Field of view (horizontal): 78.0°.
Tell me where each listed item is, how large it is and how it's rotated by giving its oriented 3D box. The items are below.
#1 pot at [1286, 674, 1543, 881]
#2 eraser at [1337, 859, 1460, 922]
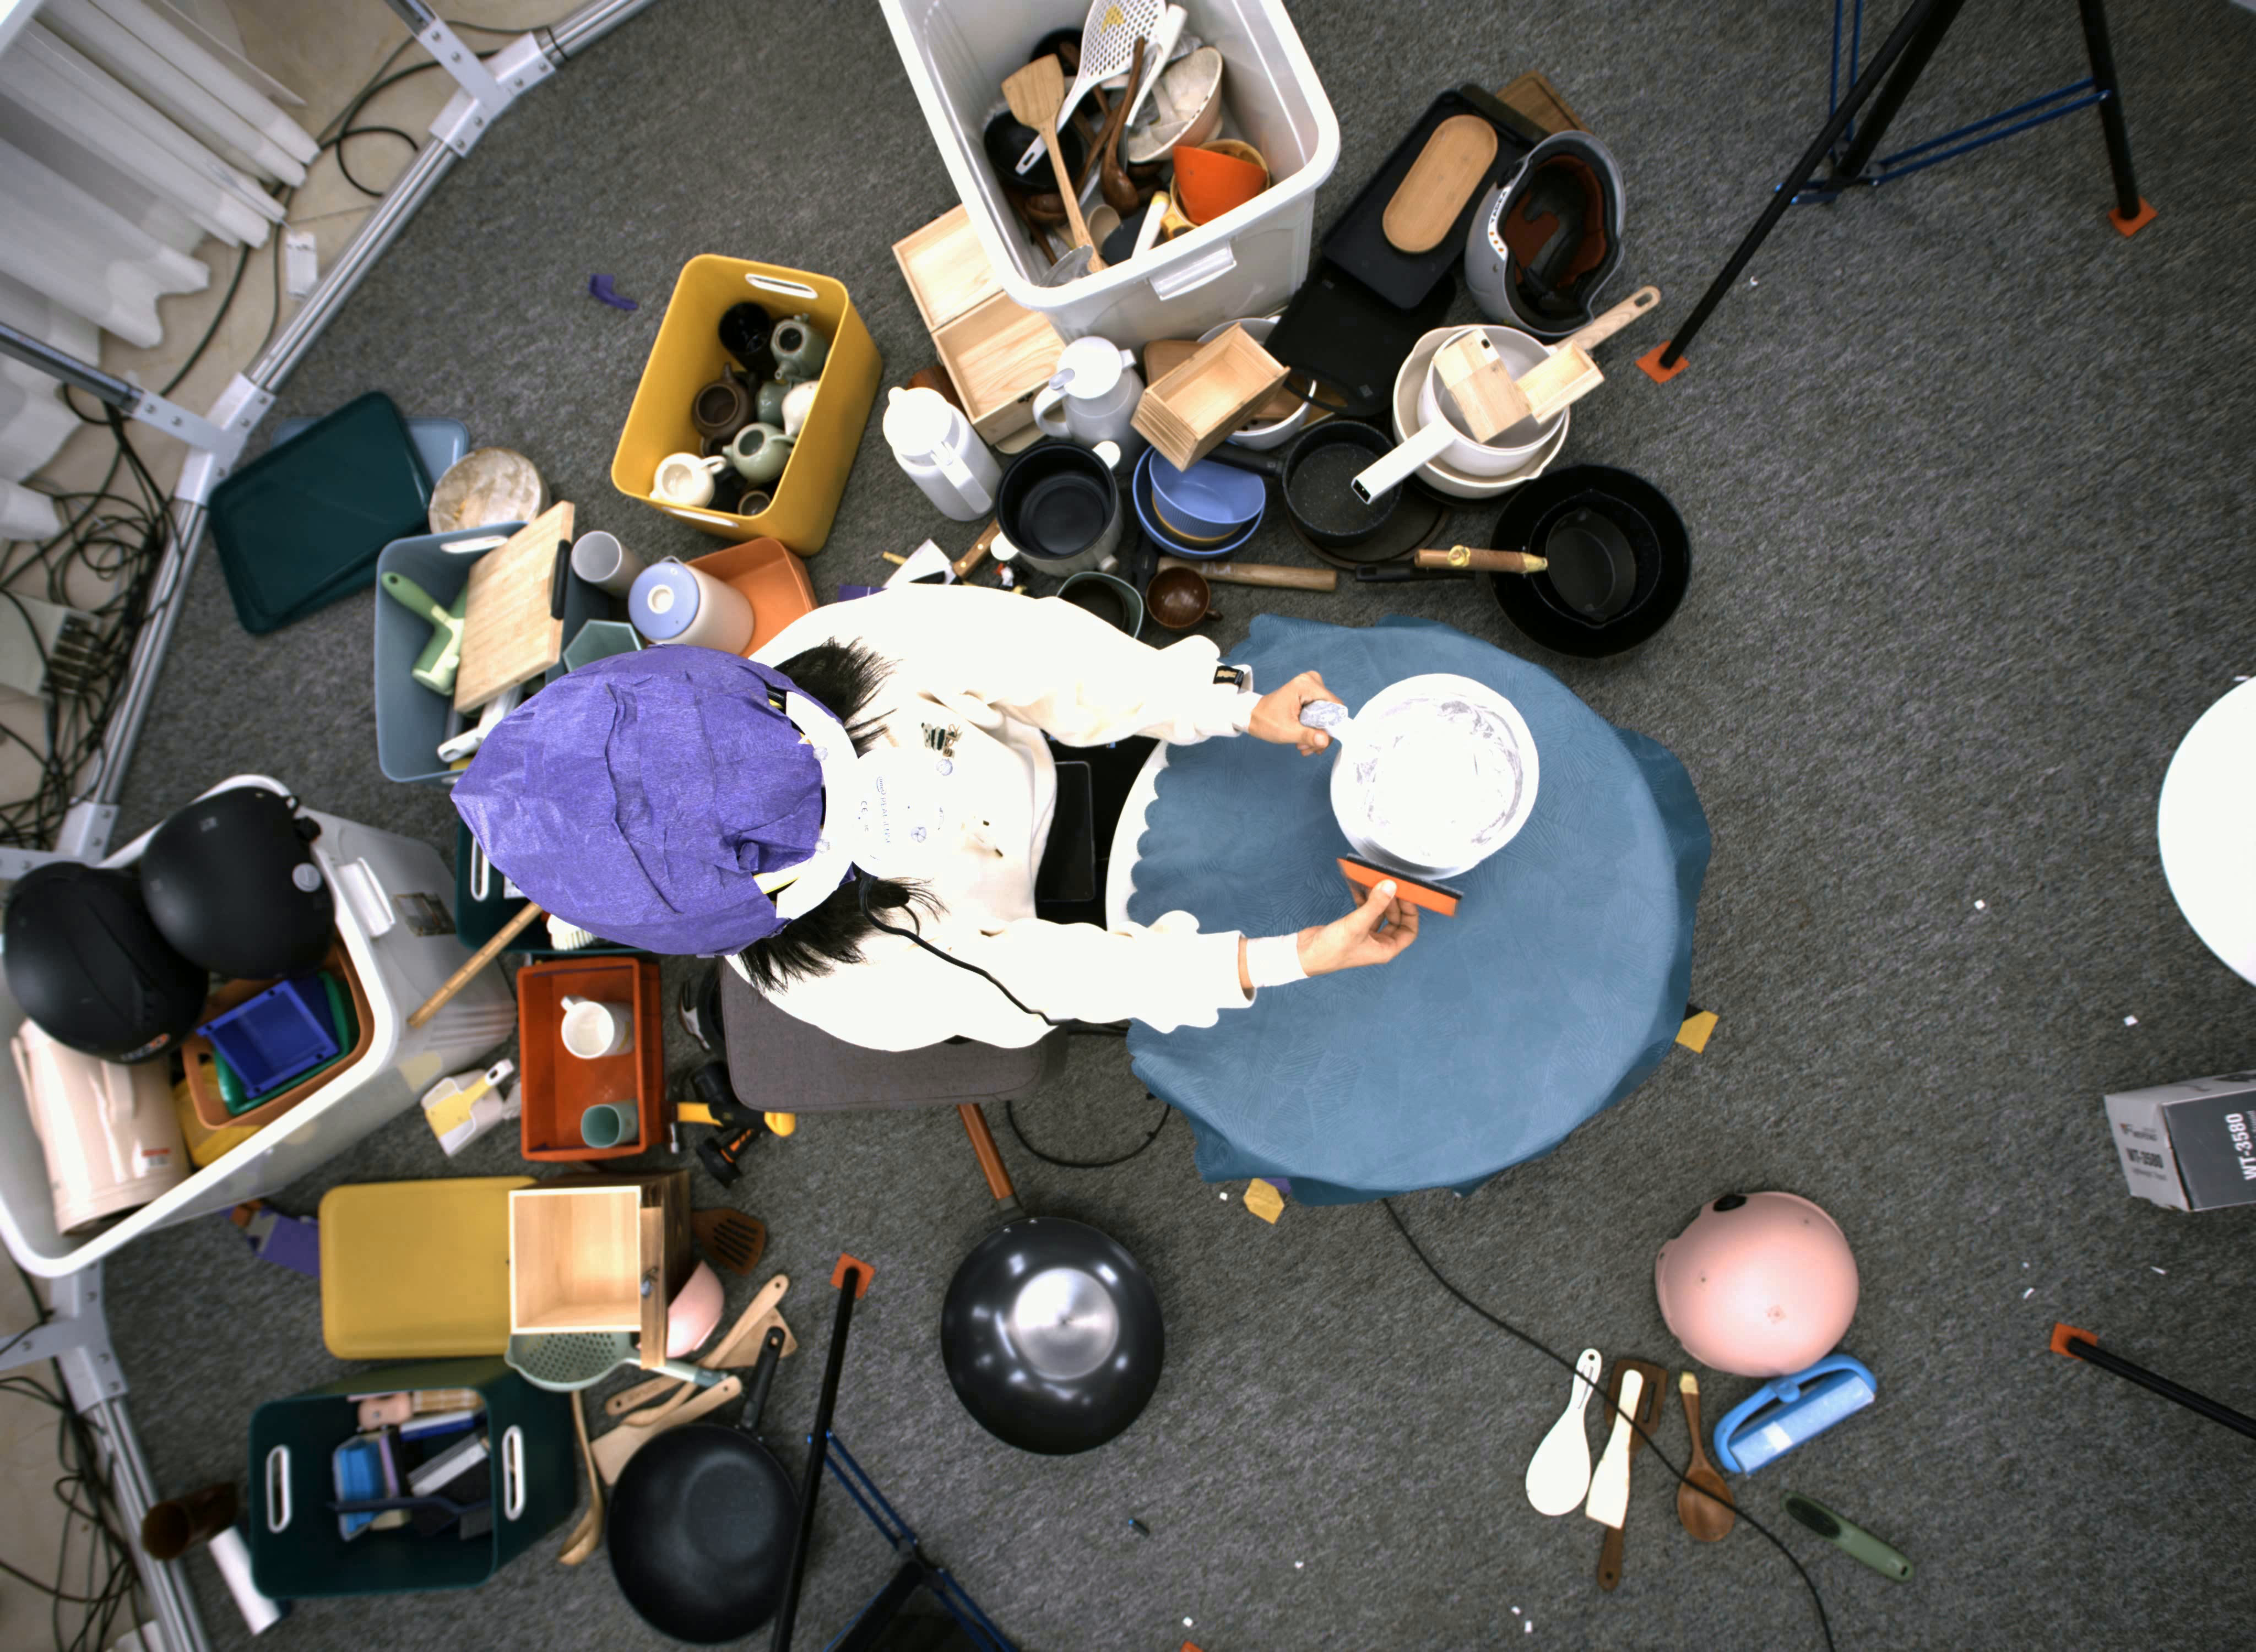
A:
[{"bbox_3d":[0.259,-0.054,1.294,0.233,0.137,0.177,27,83,5],"label":"pot"},{"bbox_3d":[0.246,0.057,1.259,0.108,0.059,0.023,18,93,5],"label":"eraser"}]
